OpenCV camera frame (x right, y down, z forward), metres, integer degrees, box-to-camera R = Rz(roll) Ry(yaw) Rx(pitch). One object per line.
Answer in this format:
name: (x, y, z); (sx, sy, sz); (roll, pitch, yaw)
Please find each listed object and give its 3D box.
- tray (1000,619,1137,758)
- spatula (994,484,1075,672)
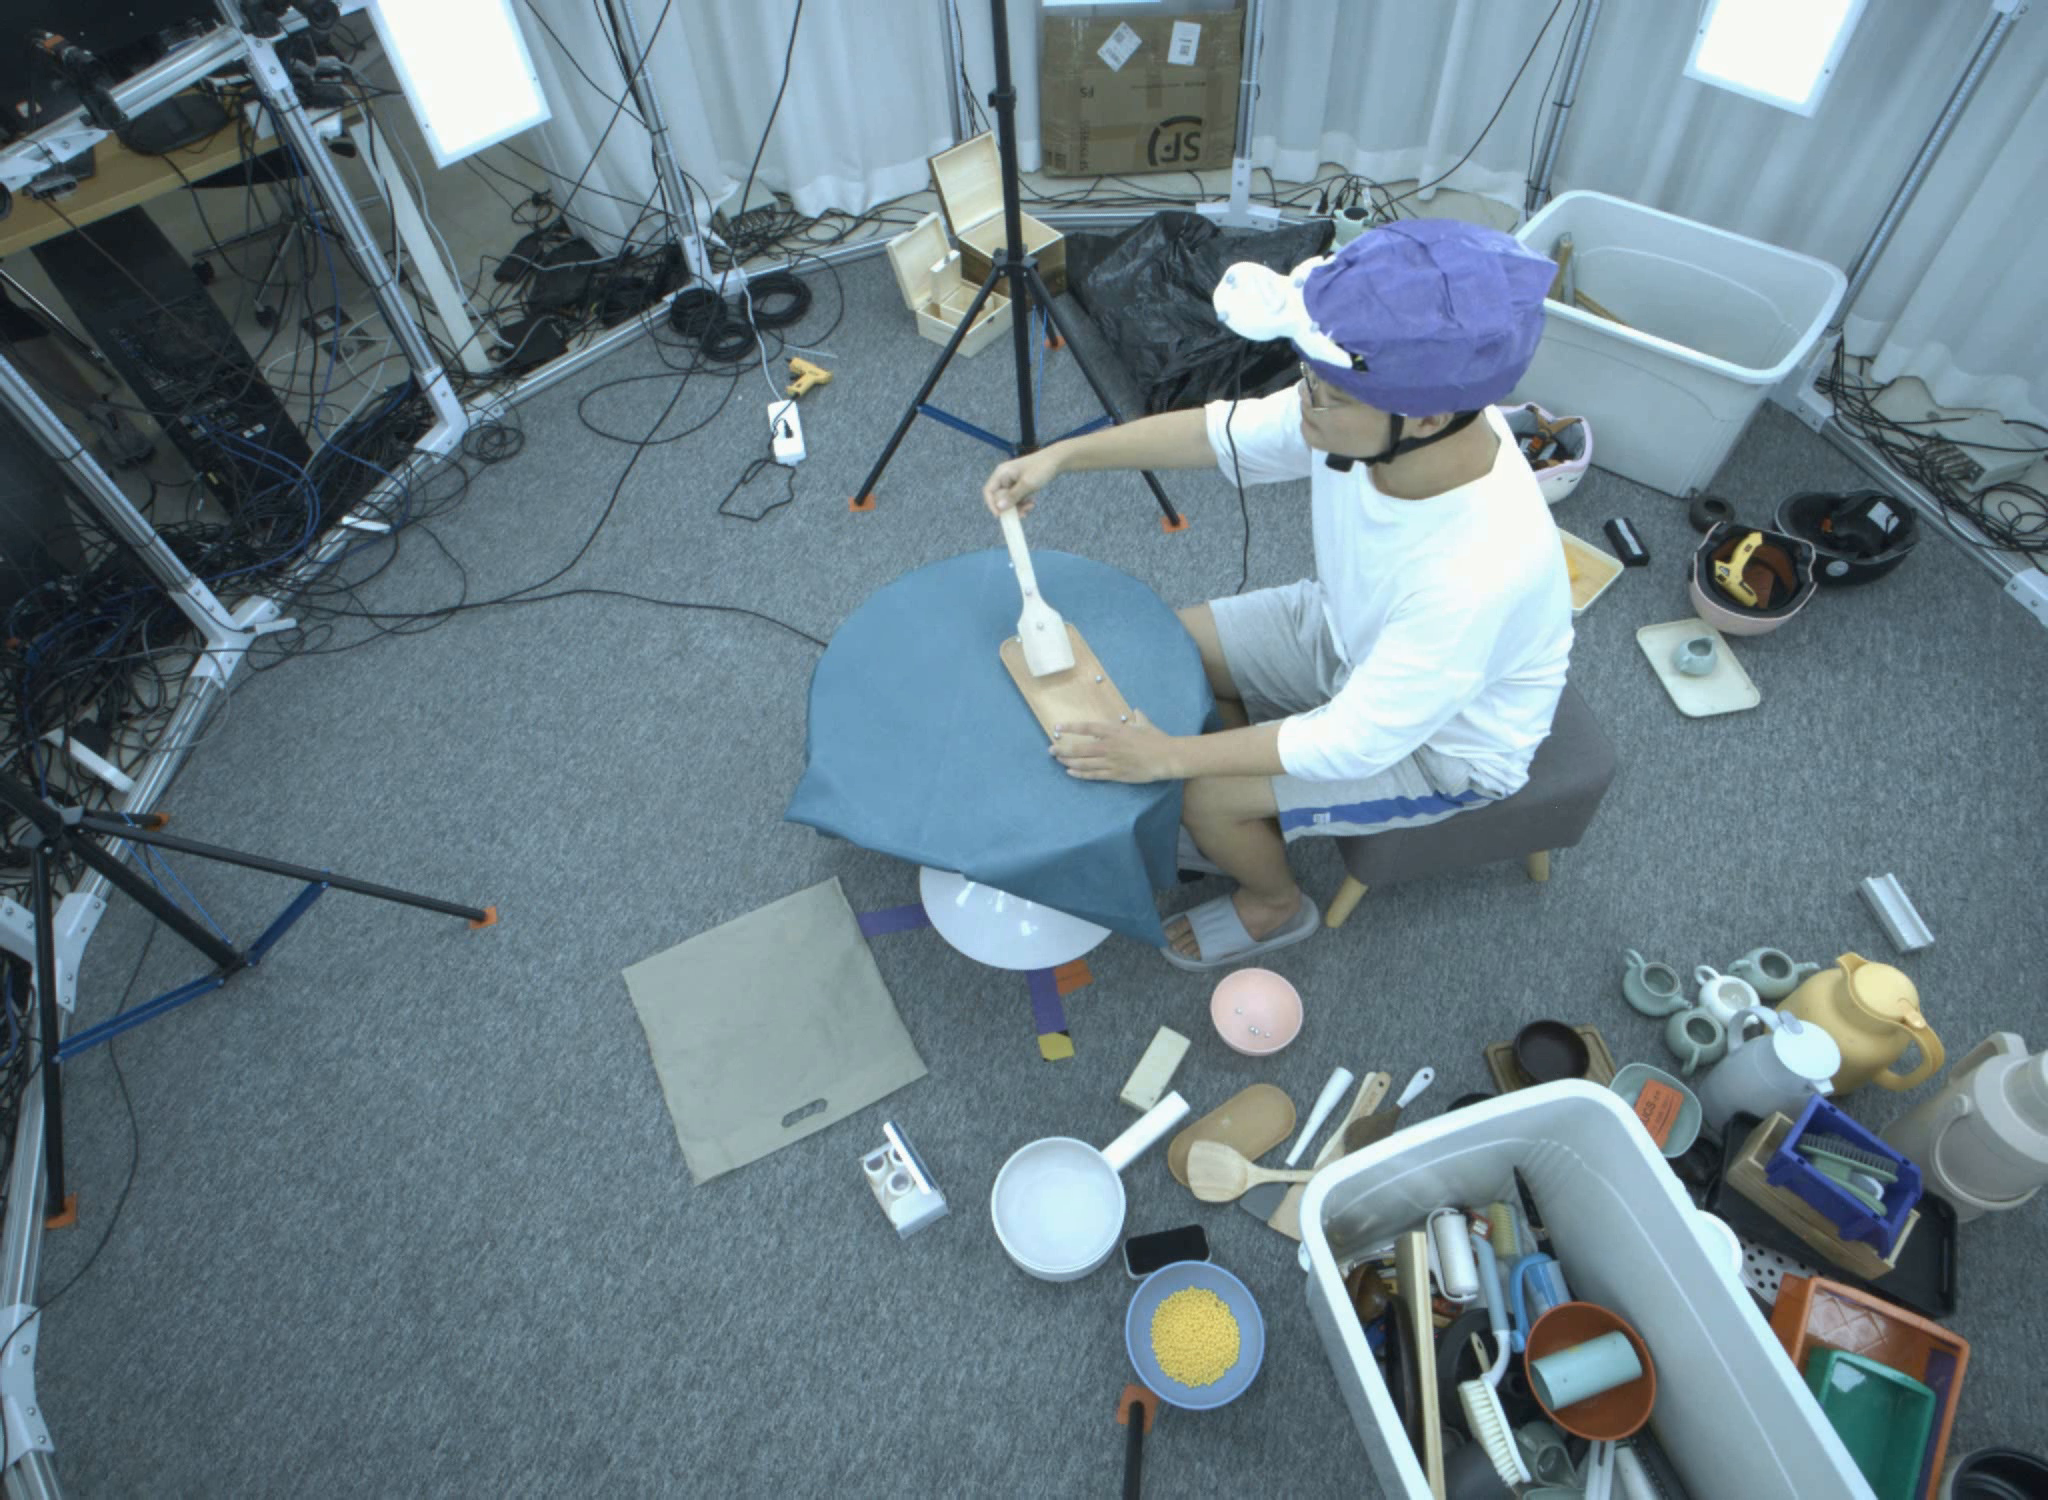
tray: (0.064, -0.095, 1.841); (0.131, 0.023, 0.246); (-20, 56, -15)
spatula: (0.003, -0.262, 1.842); (0.073, 0.010, 0.293); (-16, 89, -12)
